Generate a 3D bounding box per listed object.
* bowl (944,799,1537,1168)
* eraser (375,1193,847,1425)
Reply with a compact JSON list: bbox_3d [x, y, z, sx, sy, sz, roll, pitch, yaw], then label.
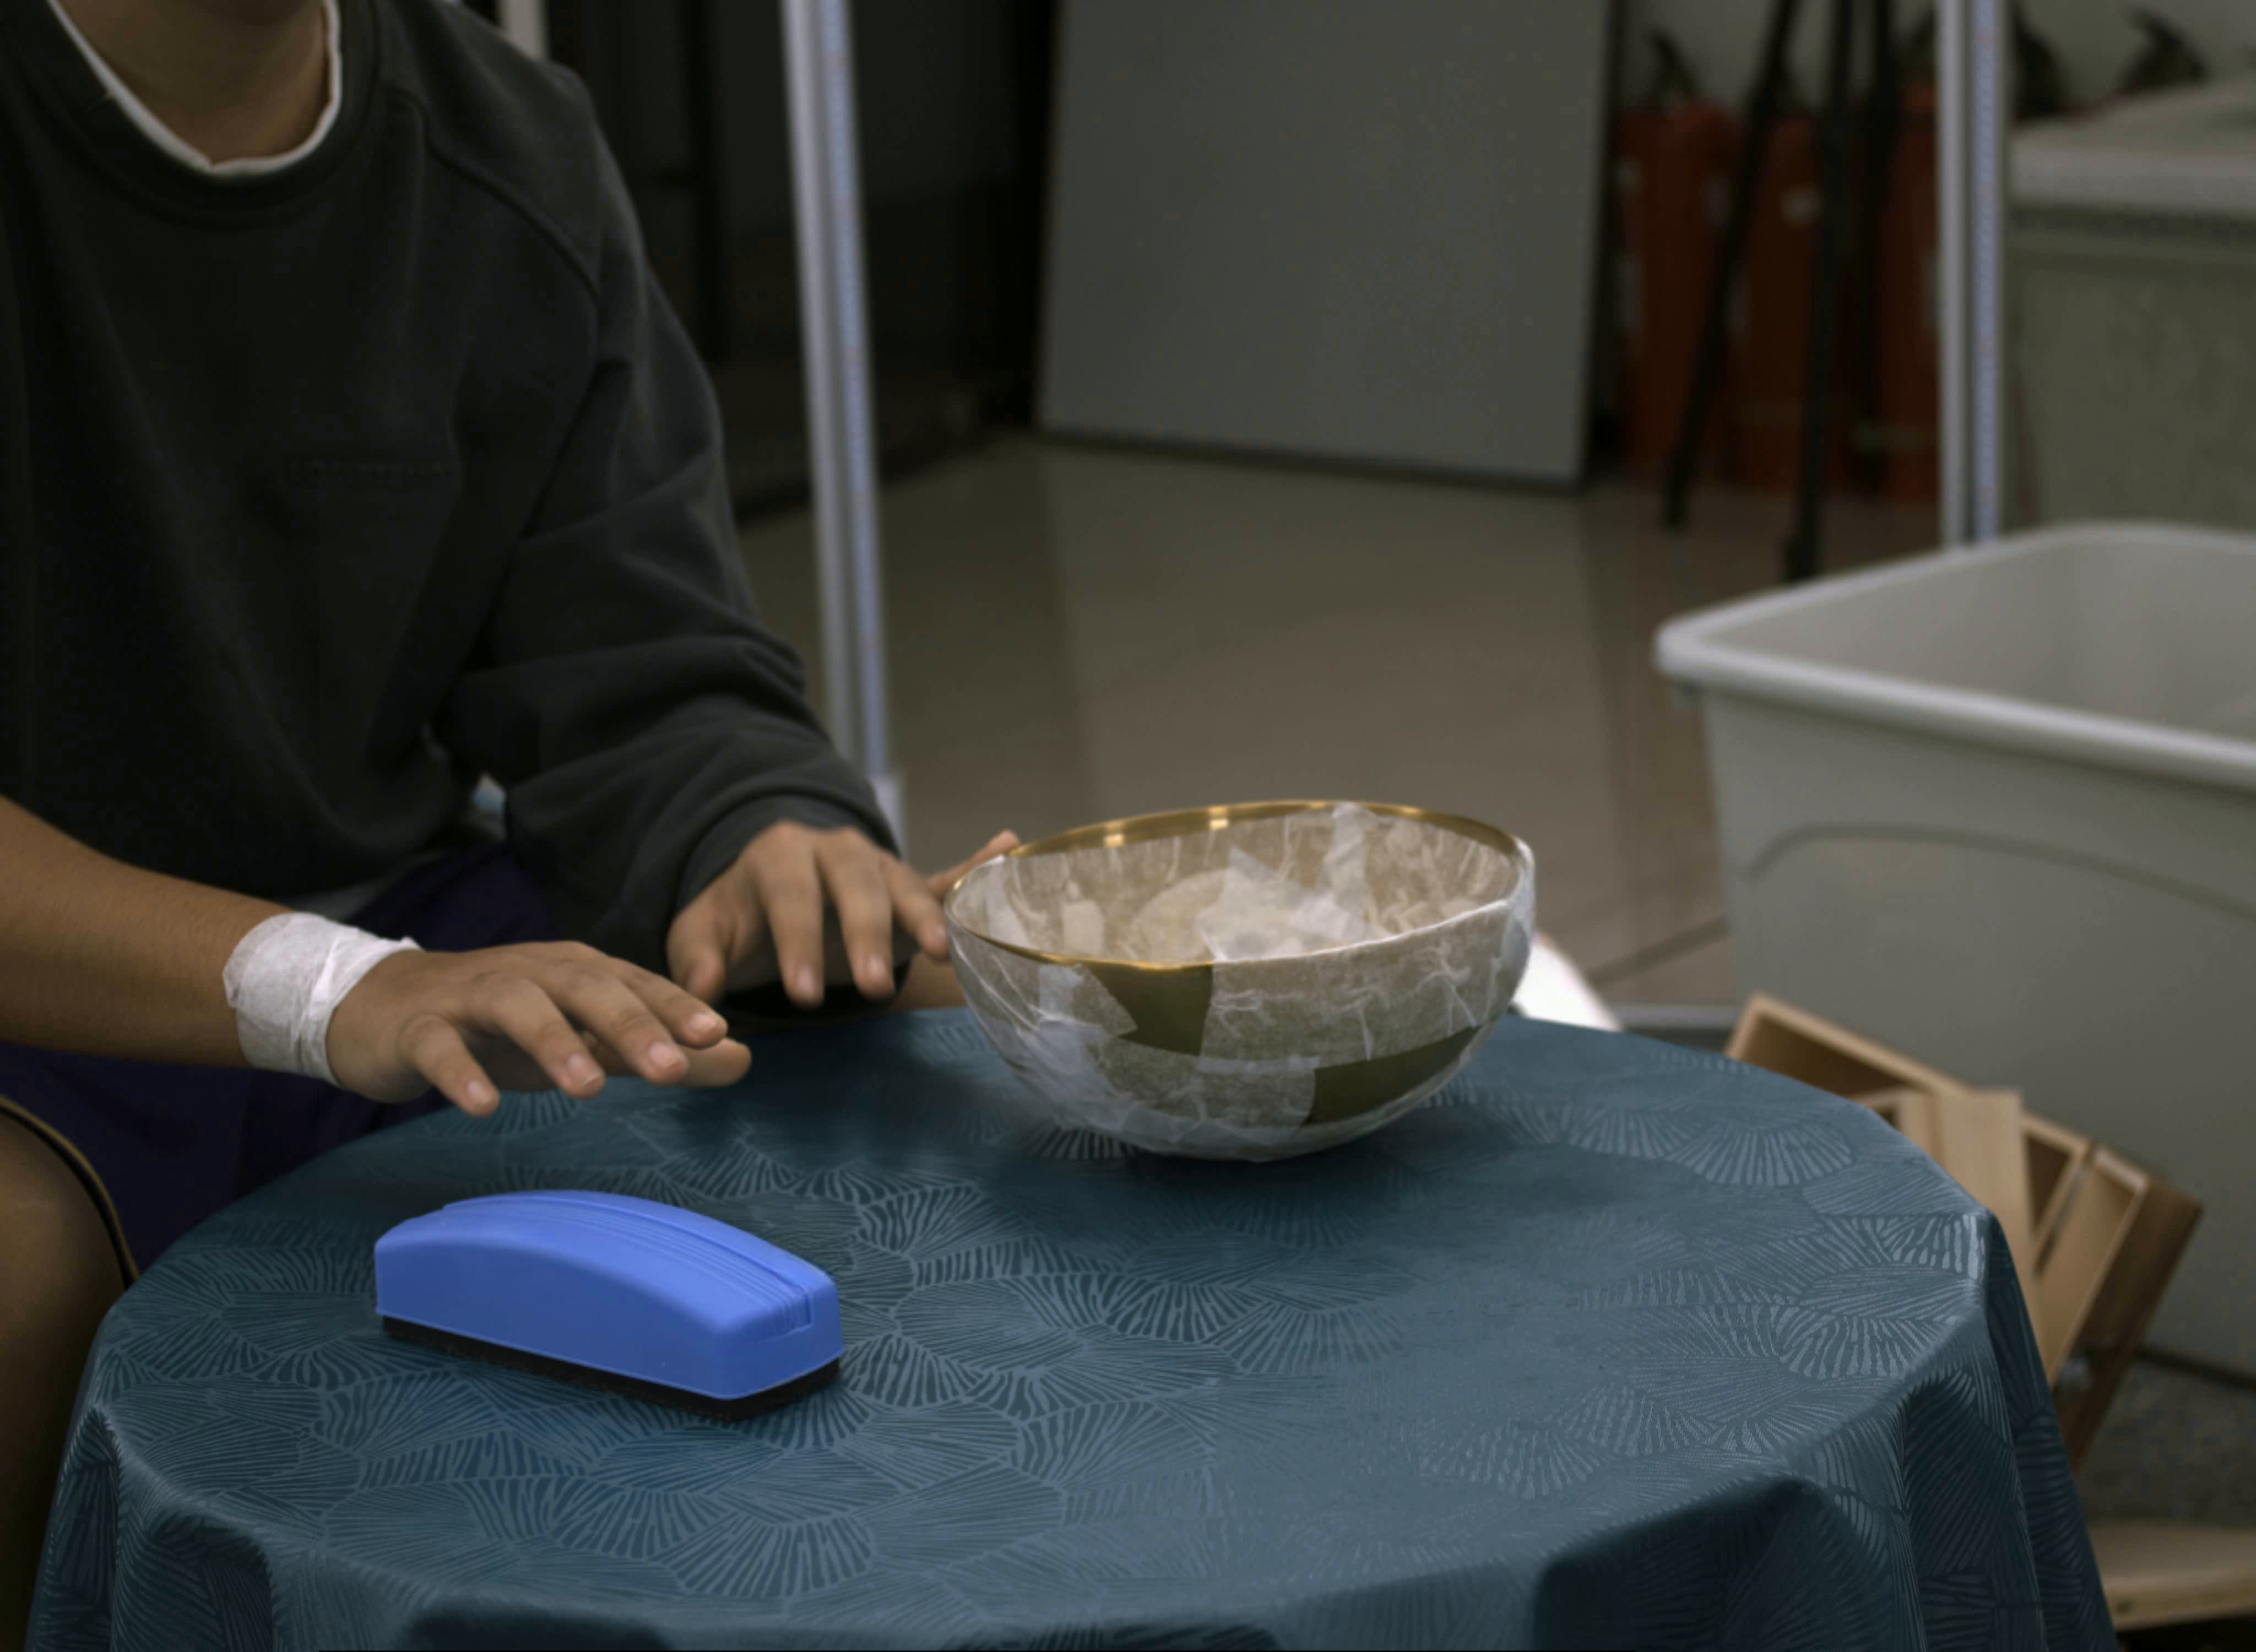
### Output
[{"bbox_3d":[0.039,0.059,1.814,0.212,0.095,0.215,-6,14,0],"label":"bowl"},{"bbox_3d":[-0.159,0.141,1.640,0.163,0.048,0.053,7,21,40],"label":"eraser"}]
